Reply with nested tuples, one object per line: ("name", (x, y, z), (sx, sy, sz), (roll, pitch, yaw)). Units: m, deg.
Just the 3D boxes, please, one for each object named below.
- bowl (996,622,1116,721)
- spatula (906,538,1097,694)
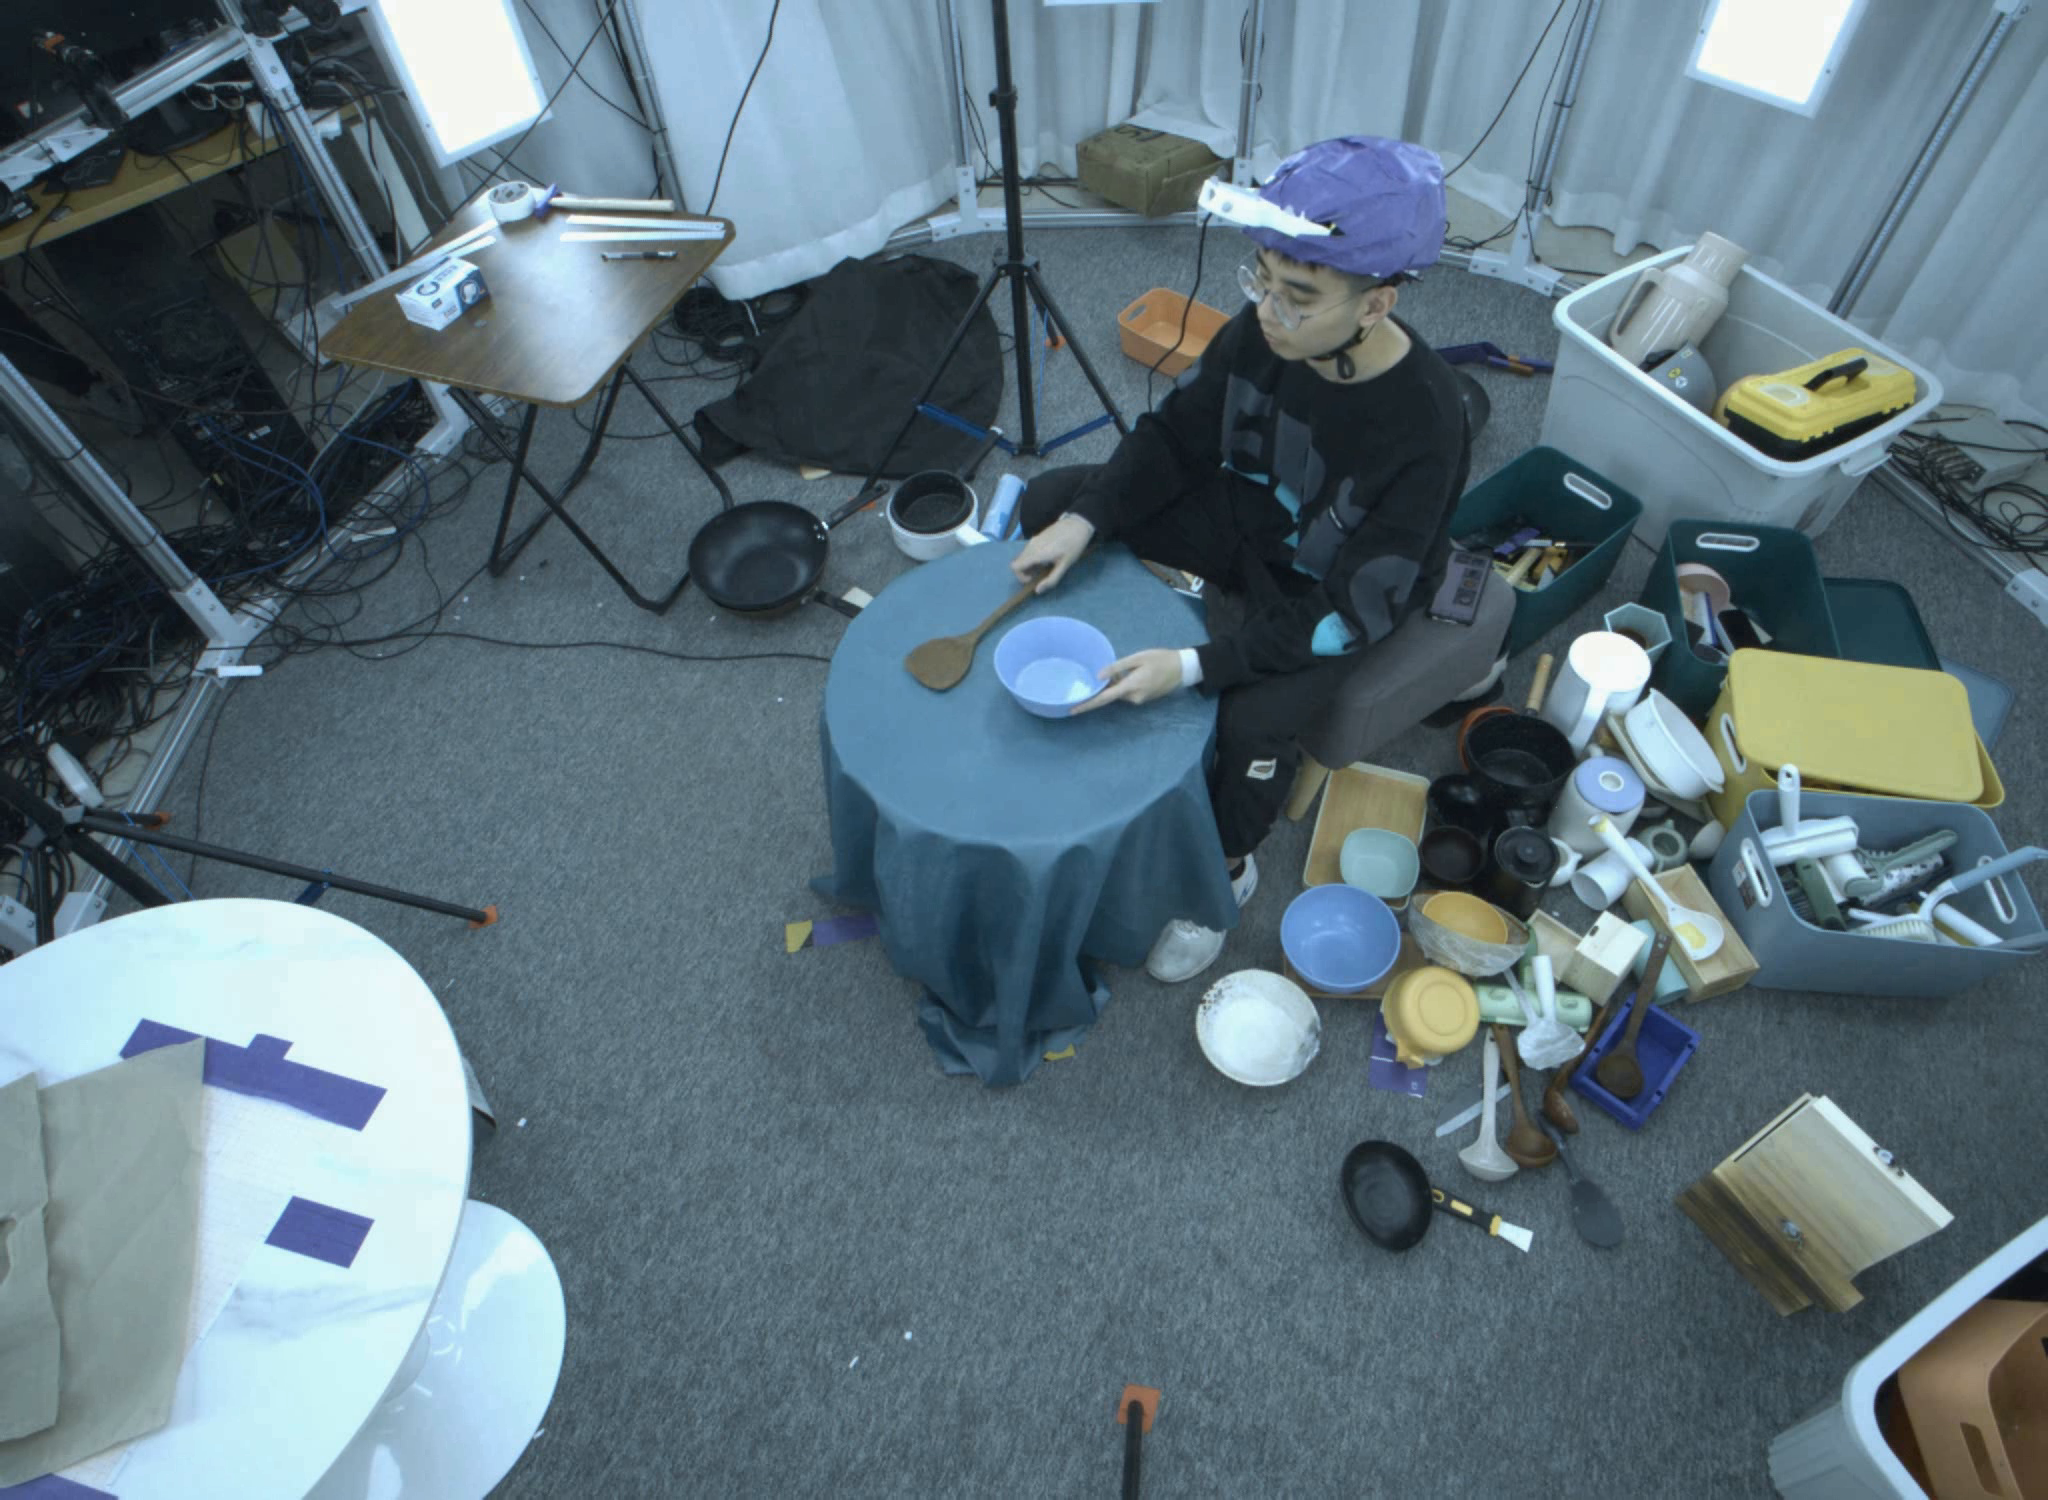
("bowl", (0.045, -0.107, 1.822), (0.176, 0.071, 0.174), (2, 51, -2))
("spatula", (-0.023, -0.223, 1.935), (0.388, 0.016, 0.094), (-42, 65, -19))
